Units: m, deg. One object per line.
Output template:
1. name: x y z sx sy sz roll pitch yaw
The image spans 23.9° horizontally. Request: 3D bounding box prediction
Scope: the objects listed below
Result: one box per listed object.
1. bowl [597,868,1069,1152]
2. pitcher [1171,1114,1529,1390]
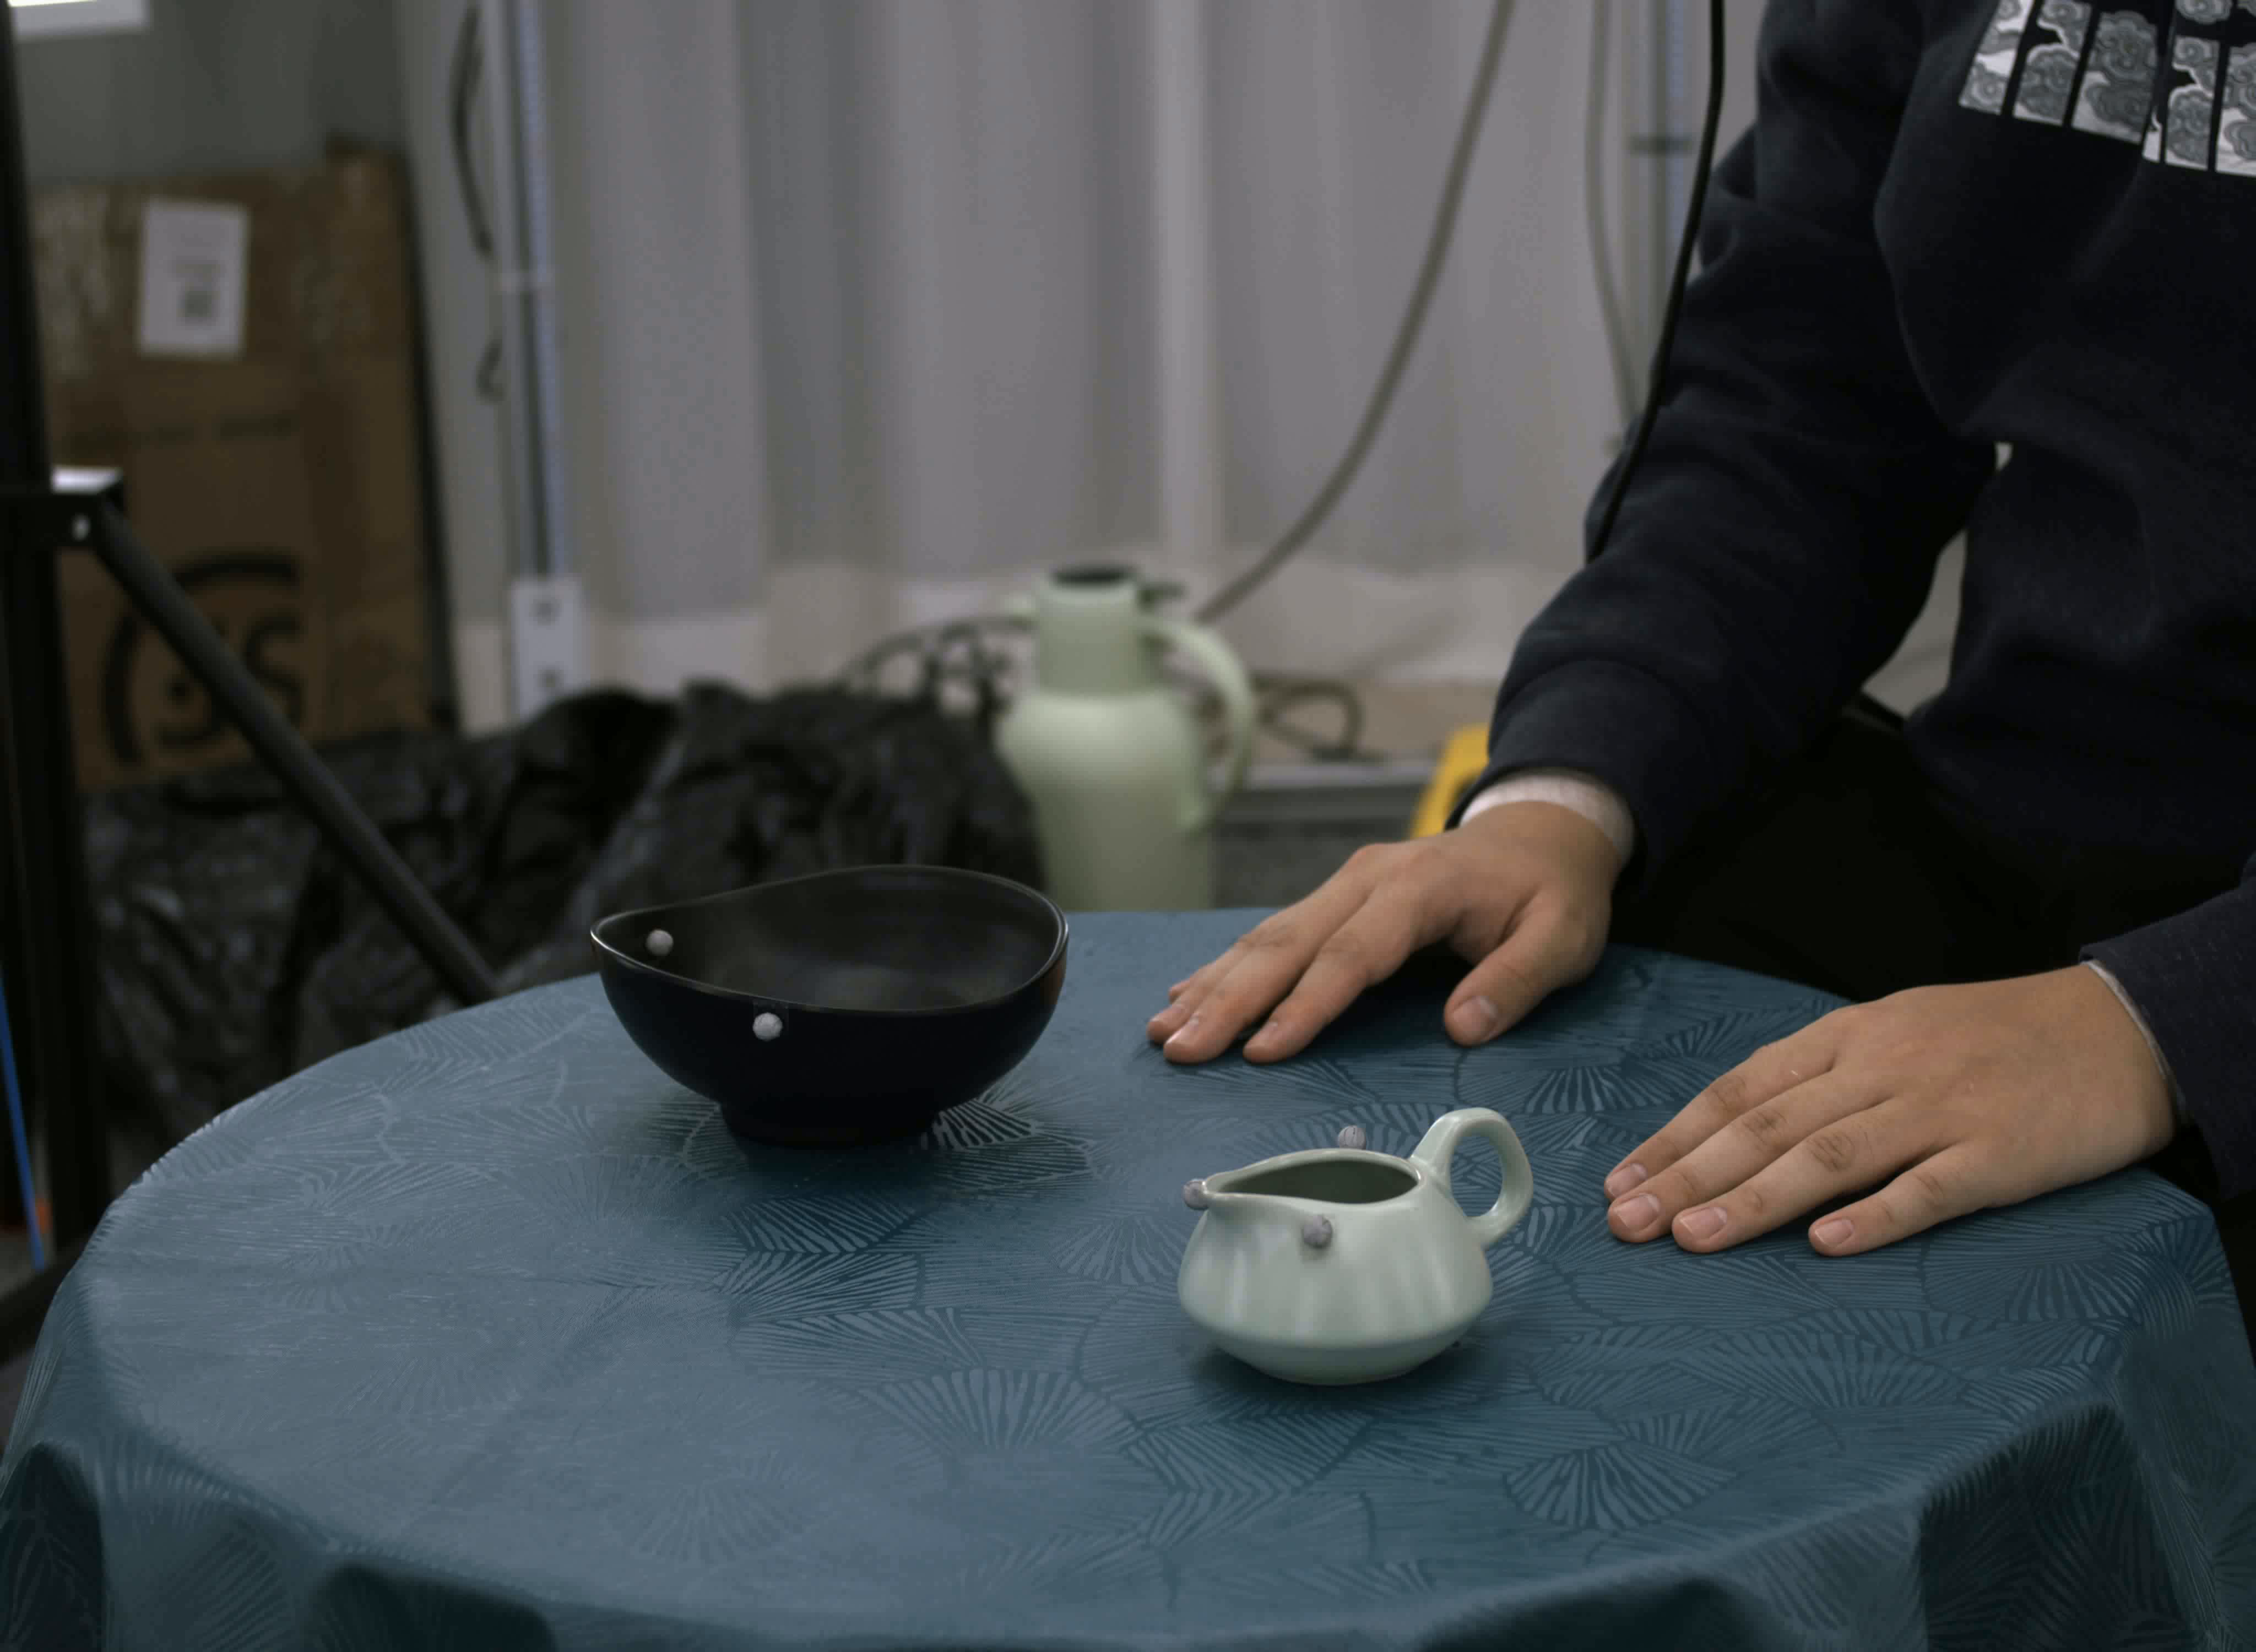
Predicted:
1. bowl: -0.091 0.059 1.627 0.134 0.067 0.174 -12 17 -32
2. pitcher: 0.064 0.114 1.426 0.105 0.060 0.088 -10 18 -34
